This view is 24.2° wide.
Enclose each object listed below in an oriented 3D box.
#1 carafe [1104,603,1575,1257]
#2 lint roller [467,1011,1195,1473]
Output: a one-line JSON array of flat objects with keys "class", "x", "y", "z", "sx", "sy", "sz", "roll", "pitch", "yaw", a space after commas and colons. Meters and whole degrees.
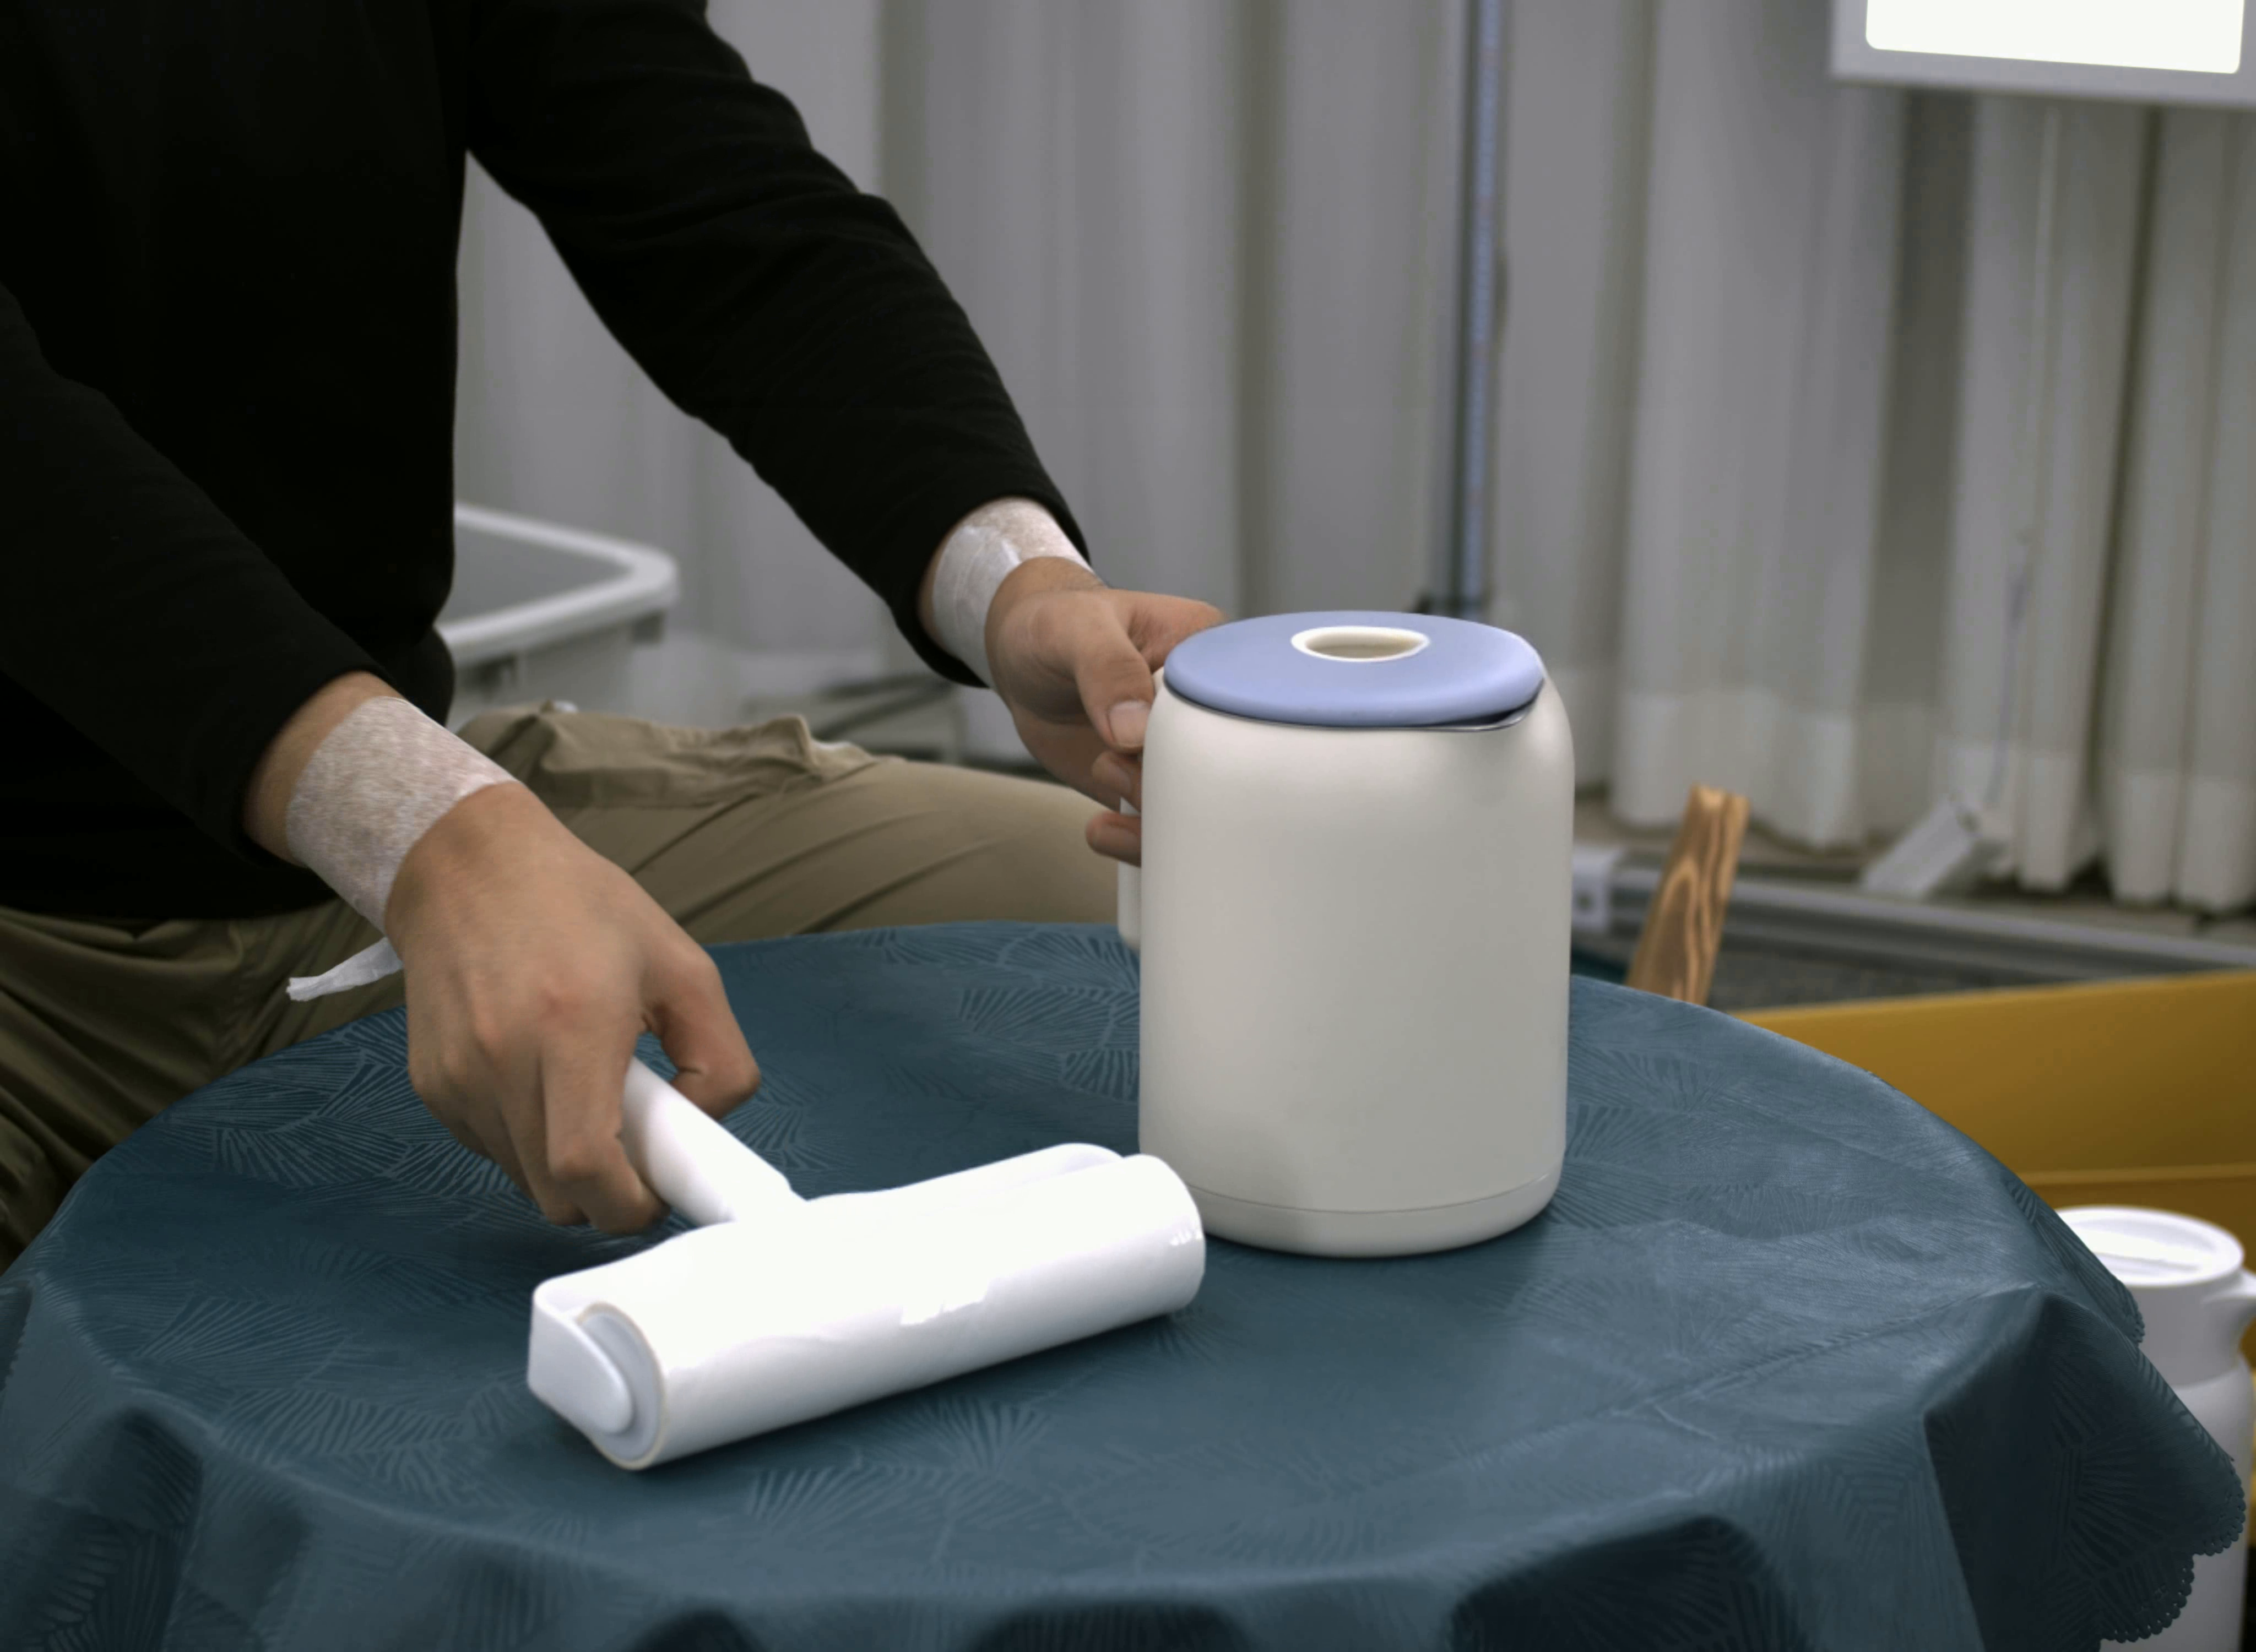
[{"class": "carafe", "x": 0.055, "y": 0.025, "z": 1.614, "sx": 0.133, "sy": 0.184, "sz": 0.188, "roll": -11, "pitch": 17, "yaw": -35}, {"class": "lint roller", "x": -0.121, "y": 0.098, "z": 1.514, "sx": 0.204, "sy": 0.049, "sz": 0.222, "roll": -14, "pitch": 33, "yaw": -39}]
